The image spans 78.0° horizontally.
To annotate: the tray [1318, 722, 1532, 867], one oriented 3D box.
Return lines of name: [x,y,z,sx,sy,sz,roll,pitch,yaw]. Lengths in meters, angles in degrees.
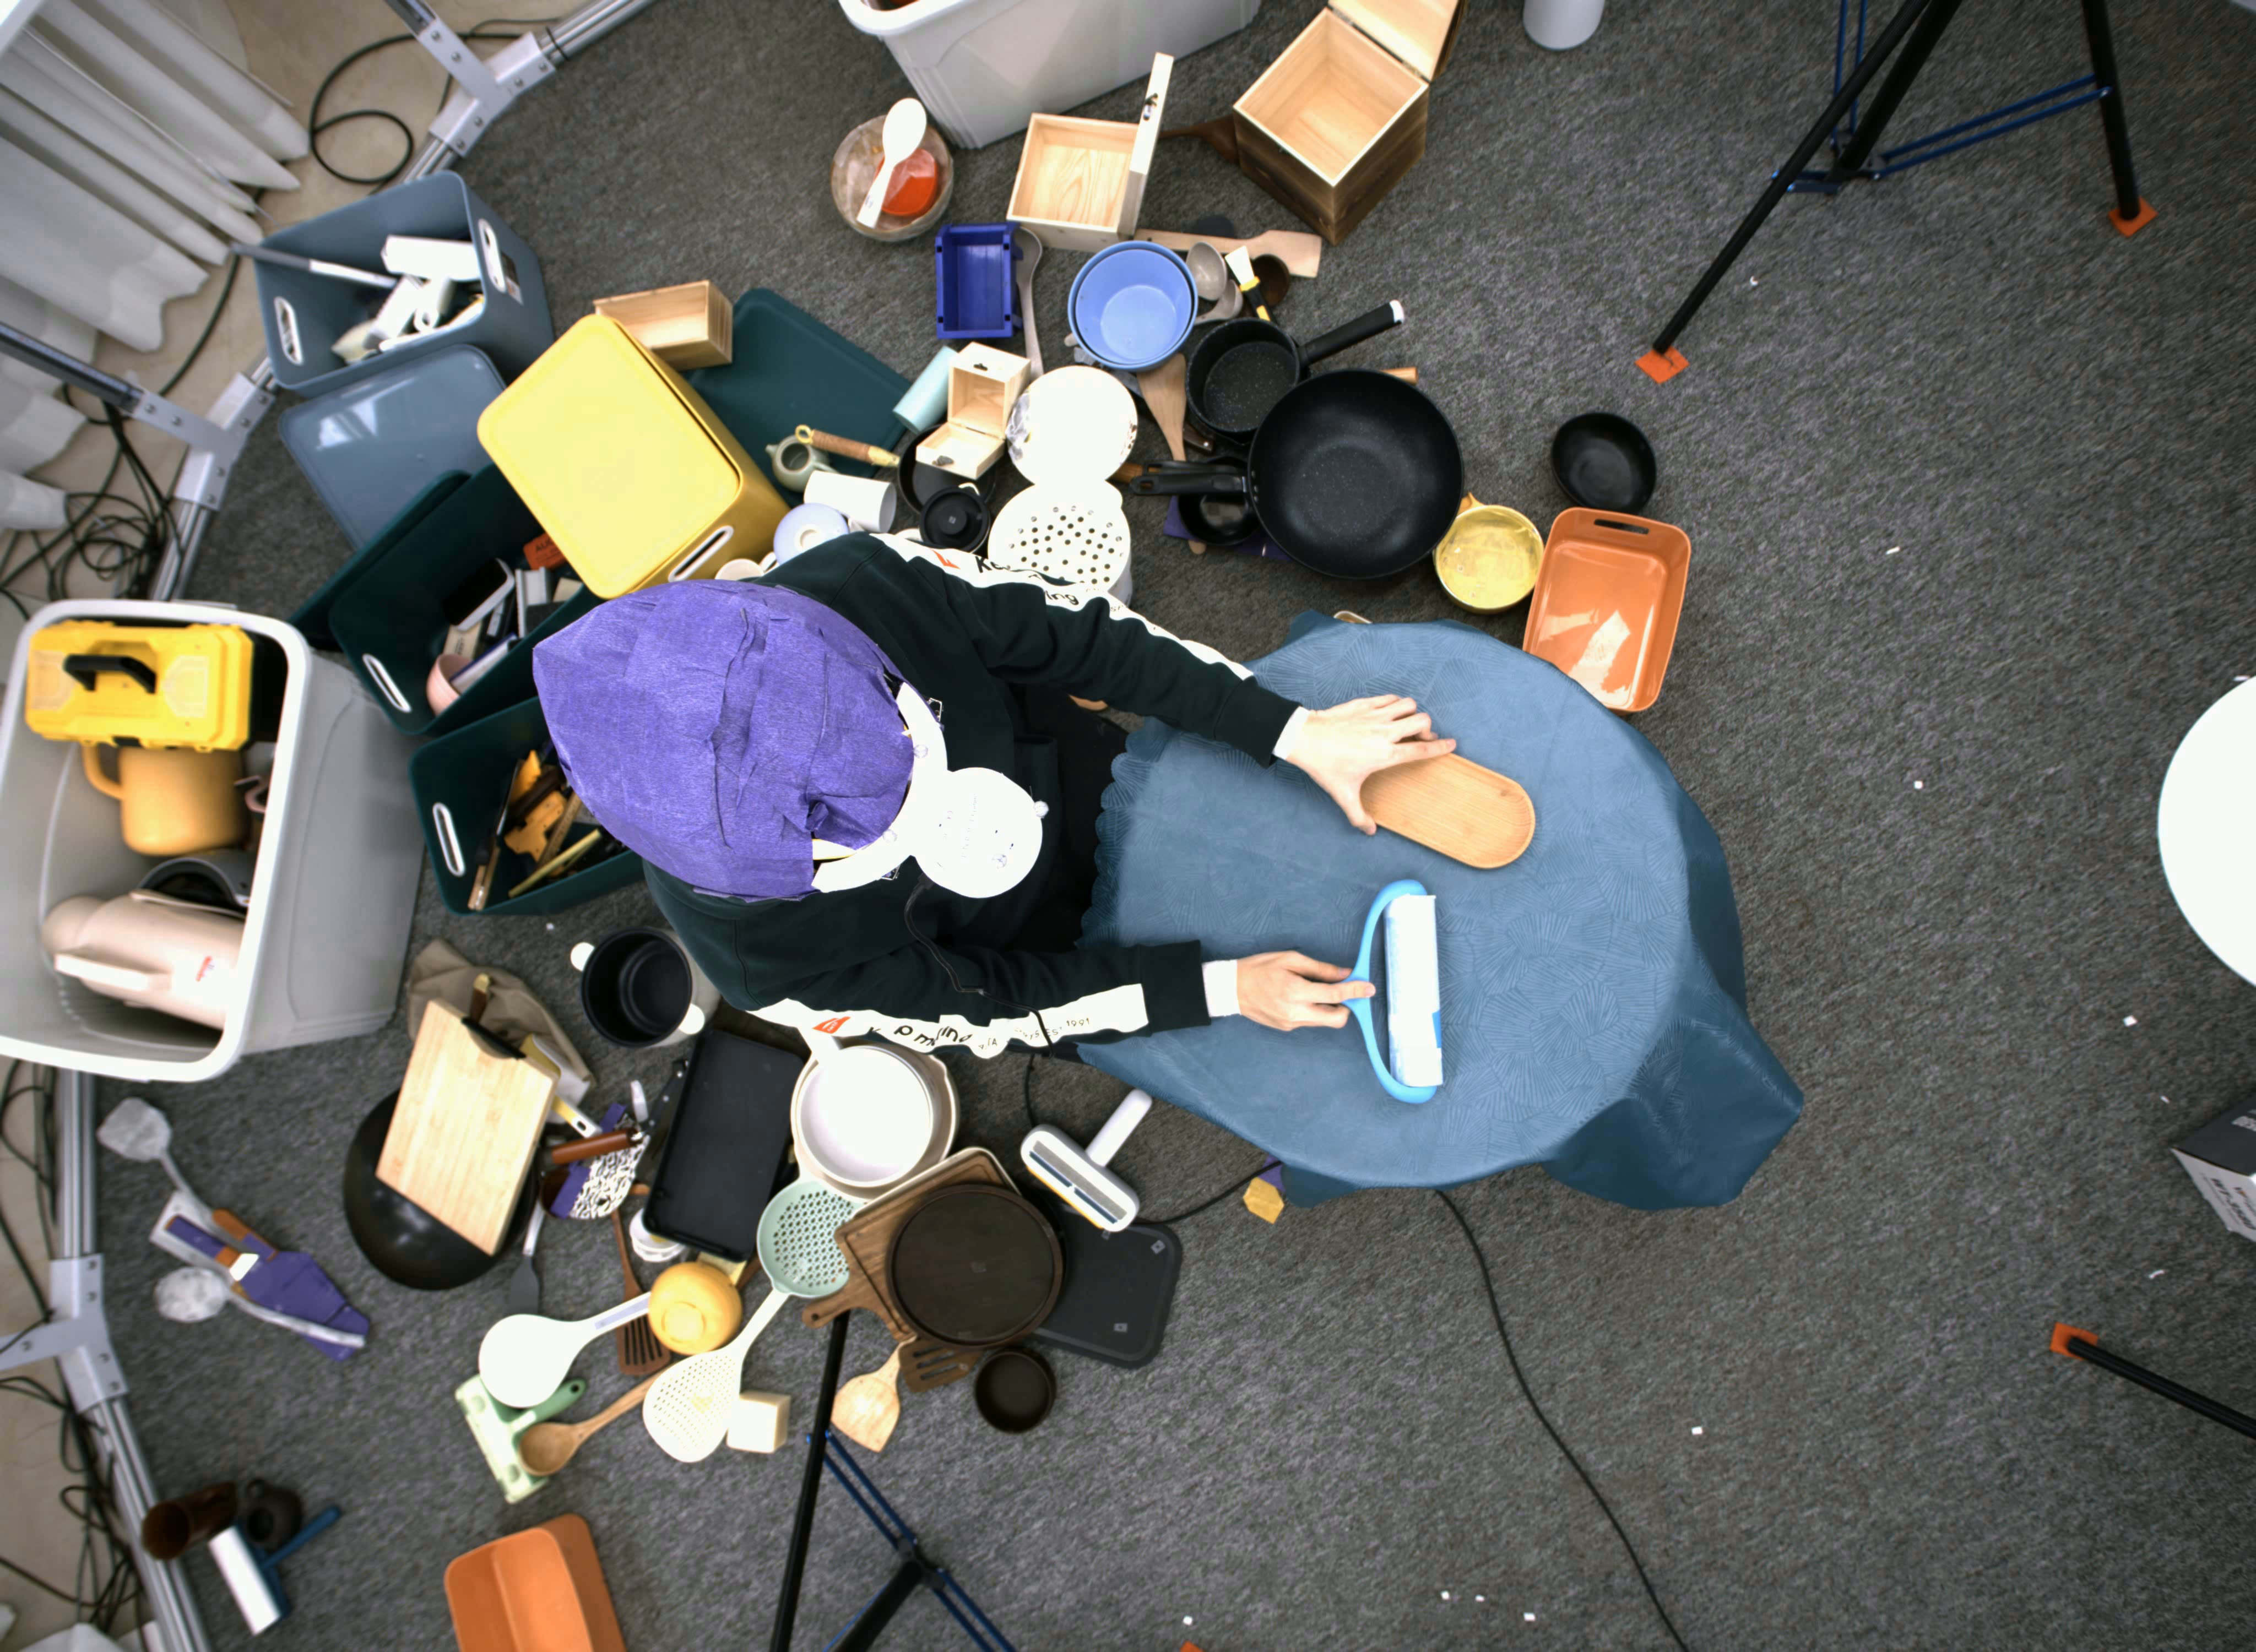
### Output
tray: [0.311,-0.034,1.445,0.231,0.020,0.101,24,90,12]

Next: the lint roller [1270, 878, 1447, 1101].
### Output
lint roller: [0.235,0.172,1.428,0.181,0.068,0.228,-6,87,9]
